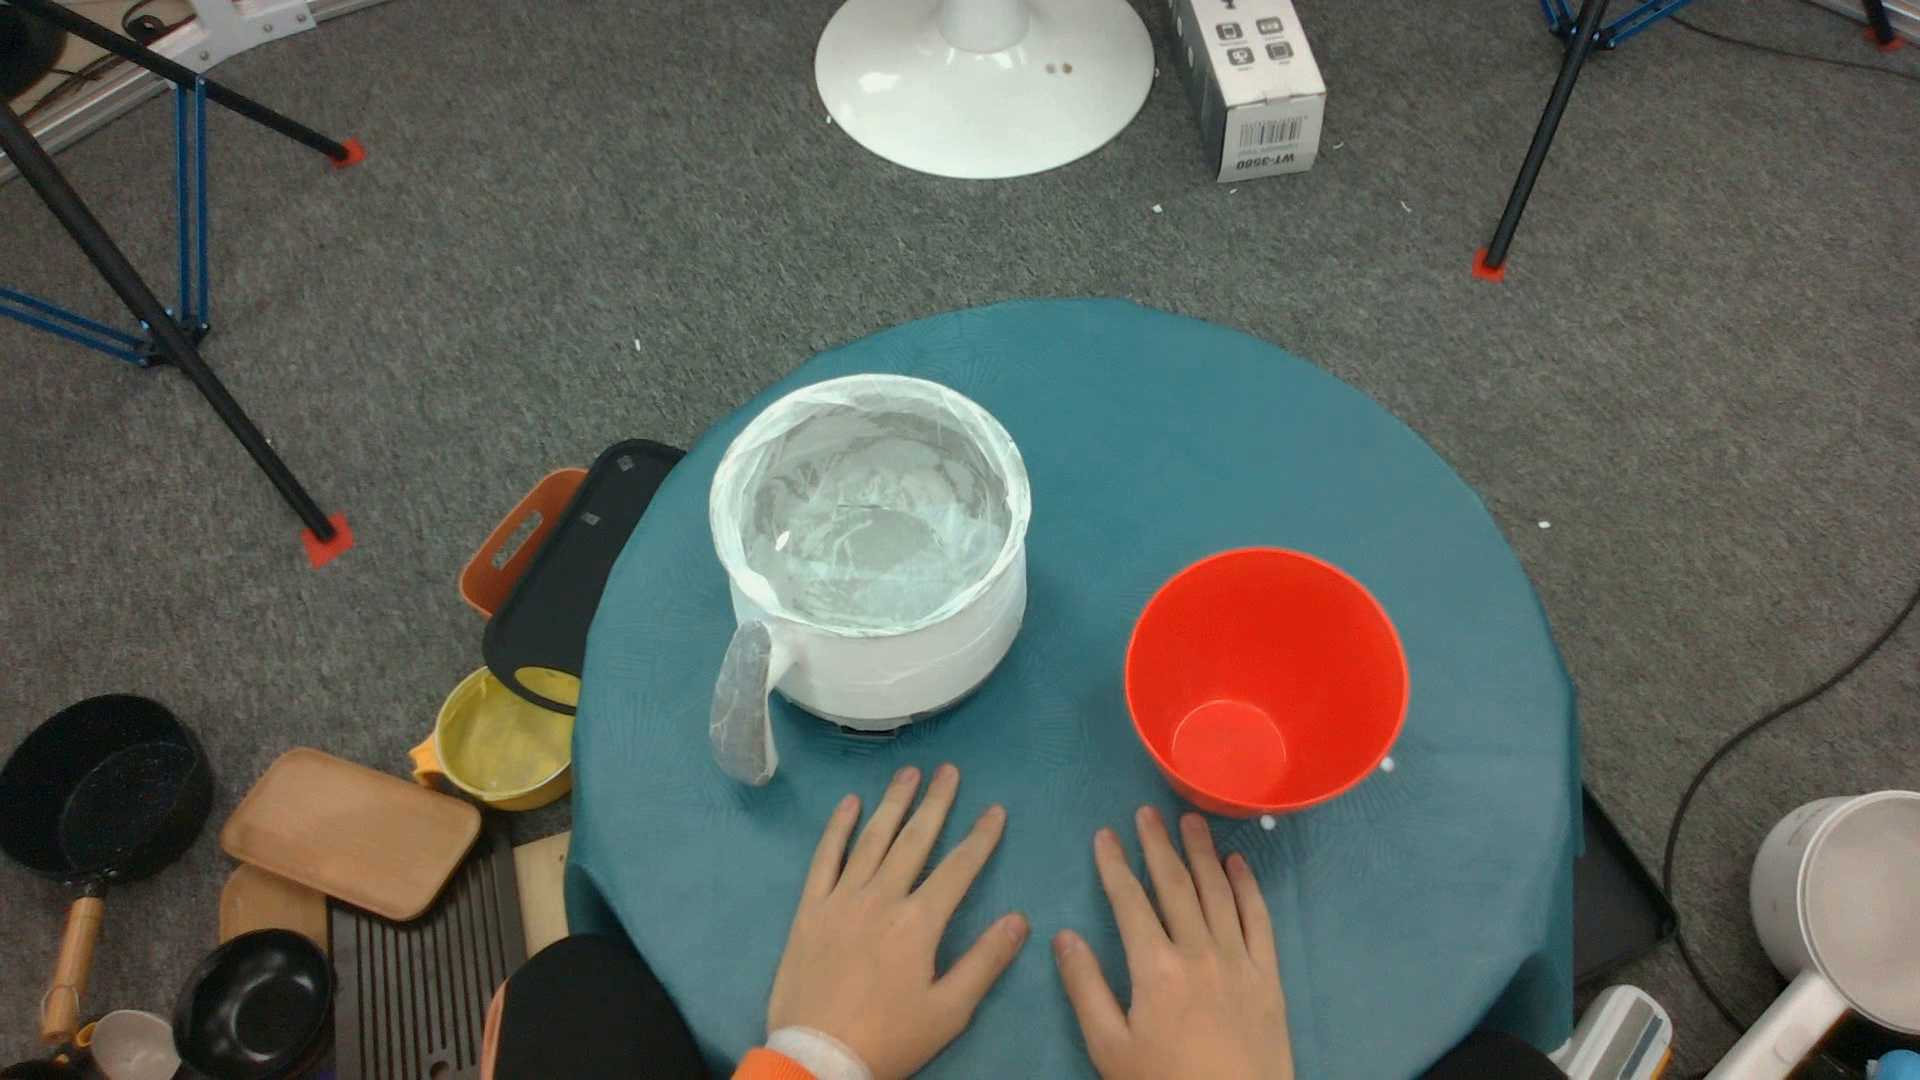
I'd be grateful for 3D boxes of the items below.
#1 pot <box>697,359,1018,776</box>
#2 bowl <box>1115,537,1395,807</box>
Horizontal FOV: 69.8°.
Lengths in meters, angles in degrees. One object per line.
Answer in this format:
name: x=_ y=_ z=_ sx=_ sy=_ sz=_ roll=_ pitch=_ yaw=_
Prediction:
pot: x=-0.070 y=0.024 z=0.794 sx=0.178 sy=0.136 sz=0.235 roll=27 pitch=61 yaw=17
bowl: x=0.159 y=0.087 z=0.775 sx=0.148 sy=0.104 sz=0.148 roll=-1 pitch=58 yaw=2
